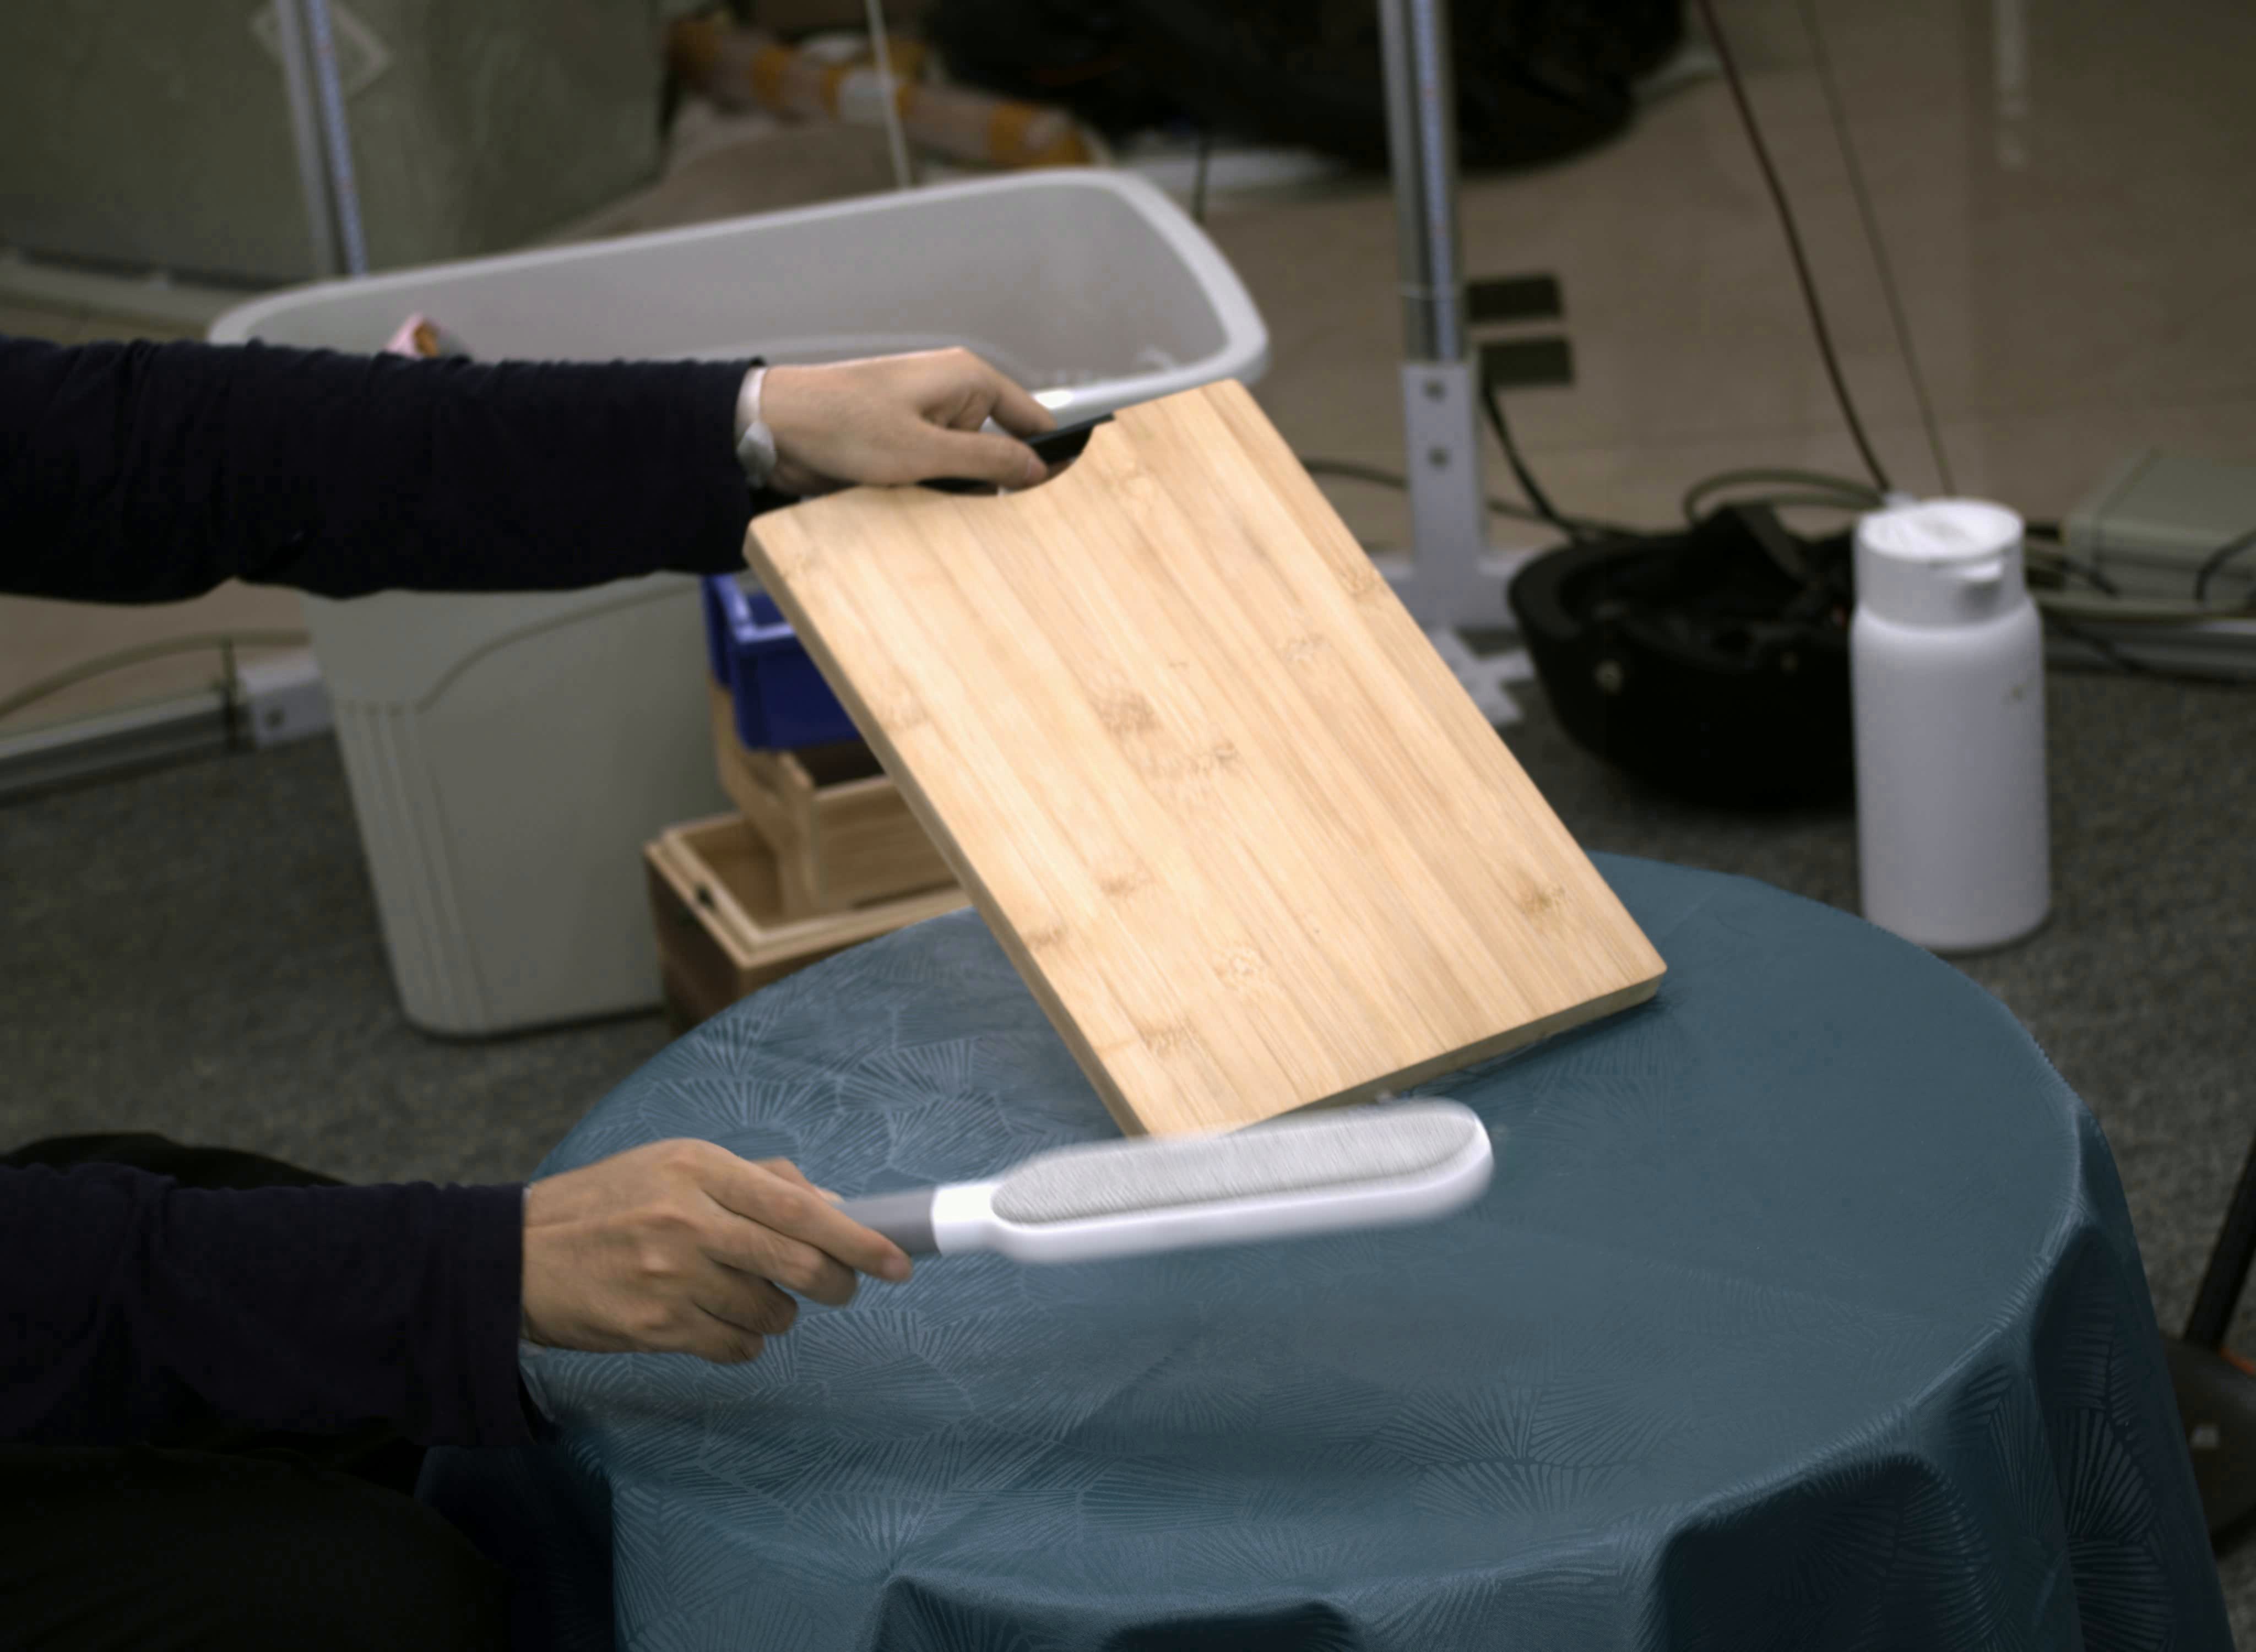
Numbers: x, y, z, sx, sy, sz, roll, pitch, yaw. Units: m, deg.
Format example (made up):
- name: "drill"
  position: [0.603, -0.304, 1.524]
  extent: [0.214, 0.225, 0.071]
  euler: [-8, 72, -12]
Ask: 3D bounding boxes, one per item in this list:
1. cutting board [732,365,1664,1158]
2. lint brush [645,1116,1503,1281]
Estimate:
- name: "cutting board"
  position: [0.025, -0.031, 2.271]
  extent: [0.249, 0.024, 0.344]
  euler: [-20, 60, -28]
- name: "lint brush"
  position: [-0.022, 0.133, 1.984]
  extent: [0.308, 0.021, 0.059]
  euler: [-7, 29, 13]
